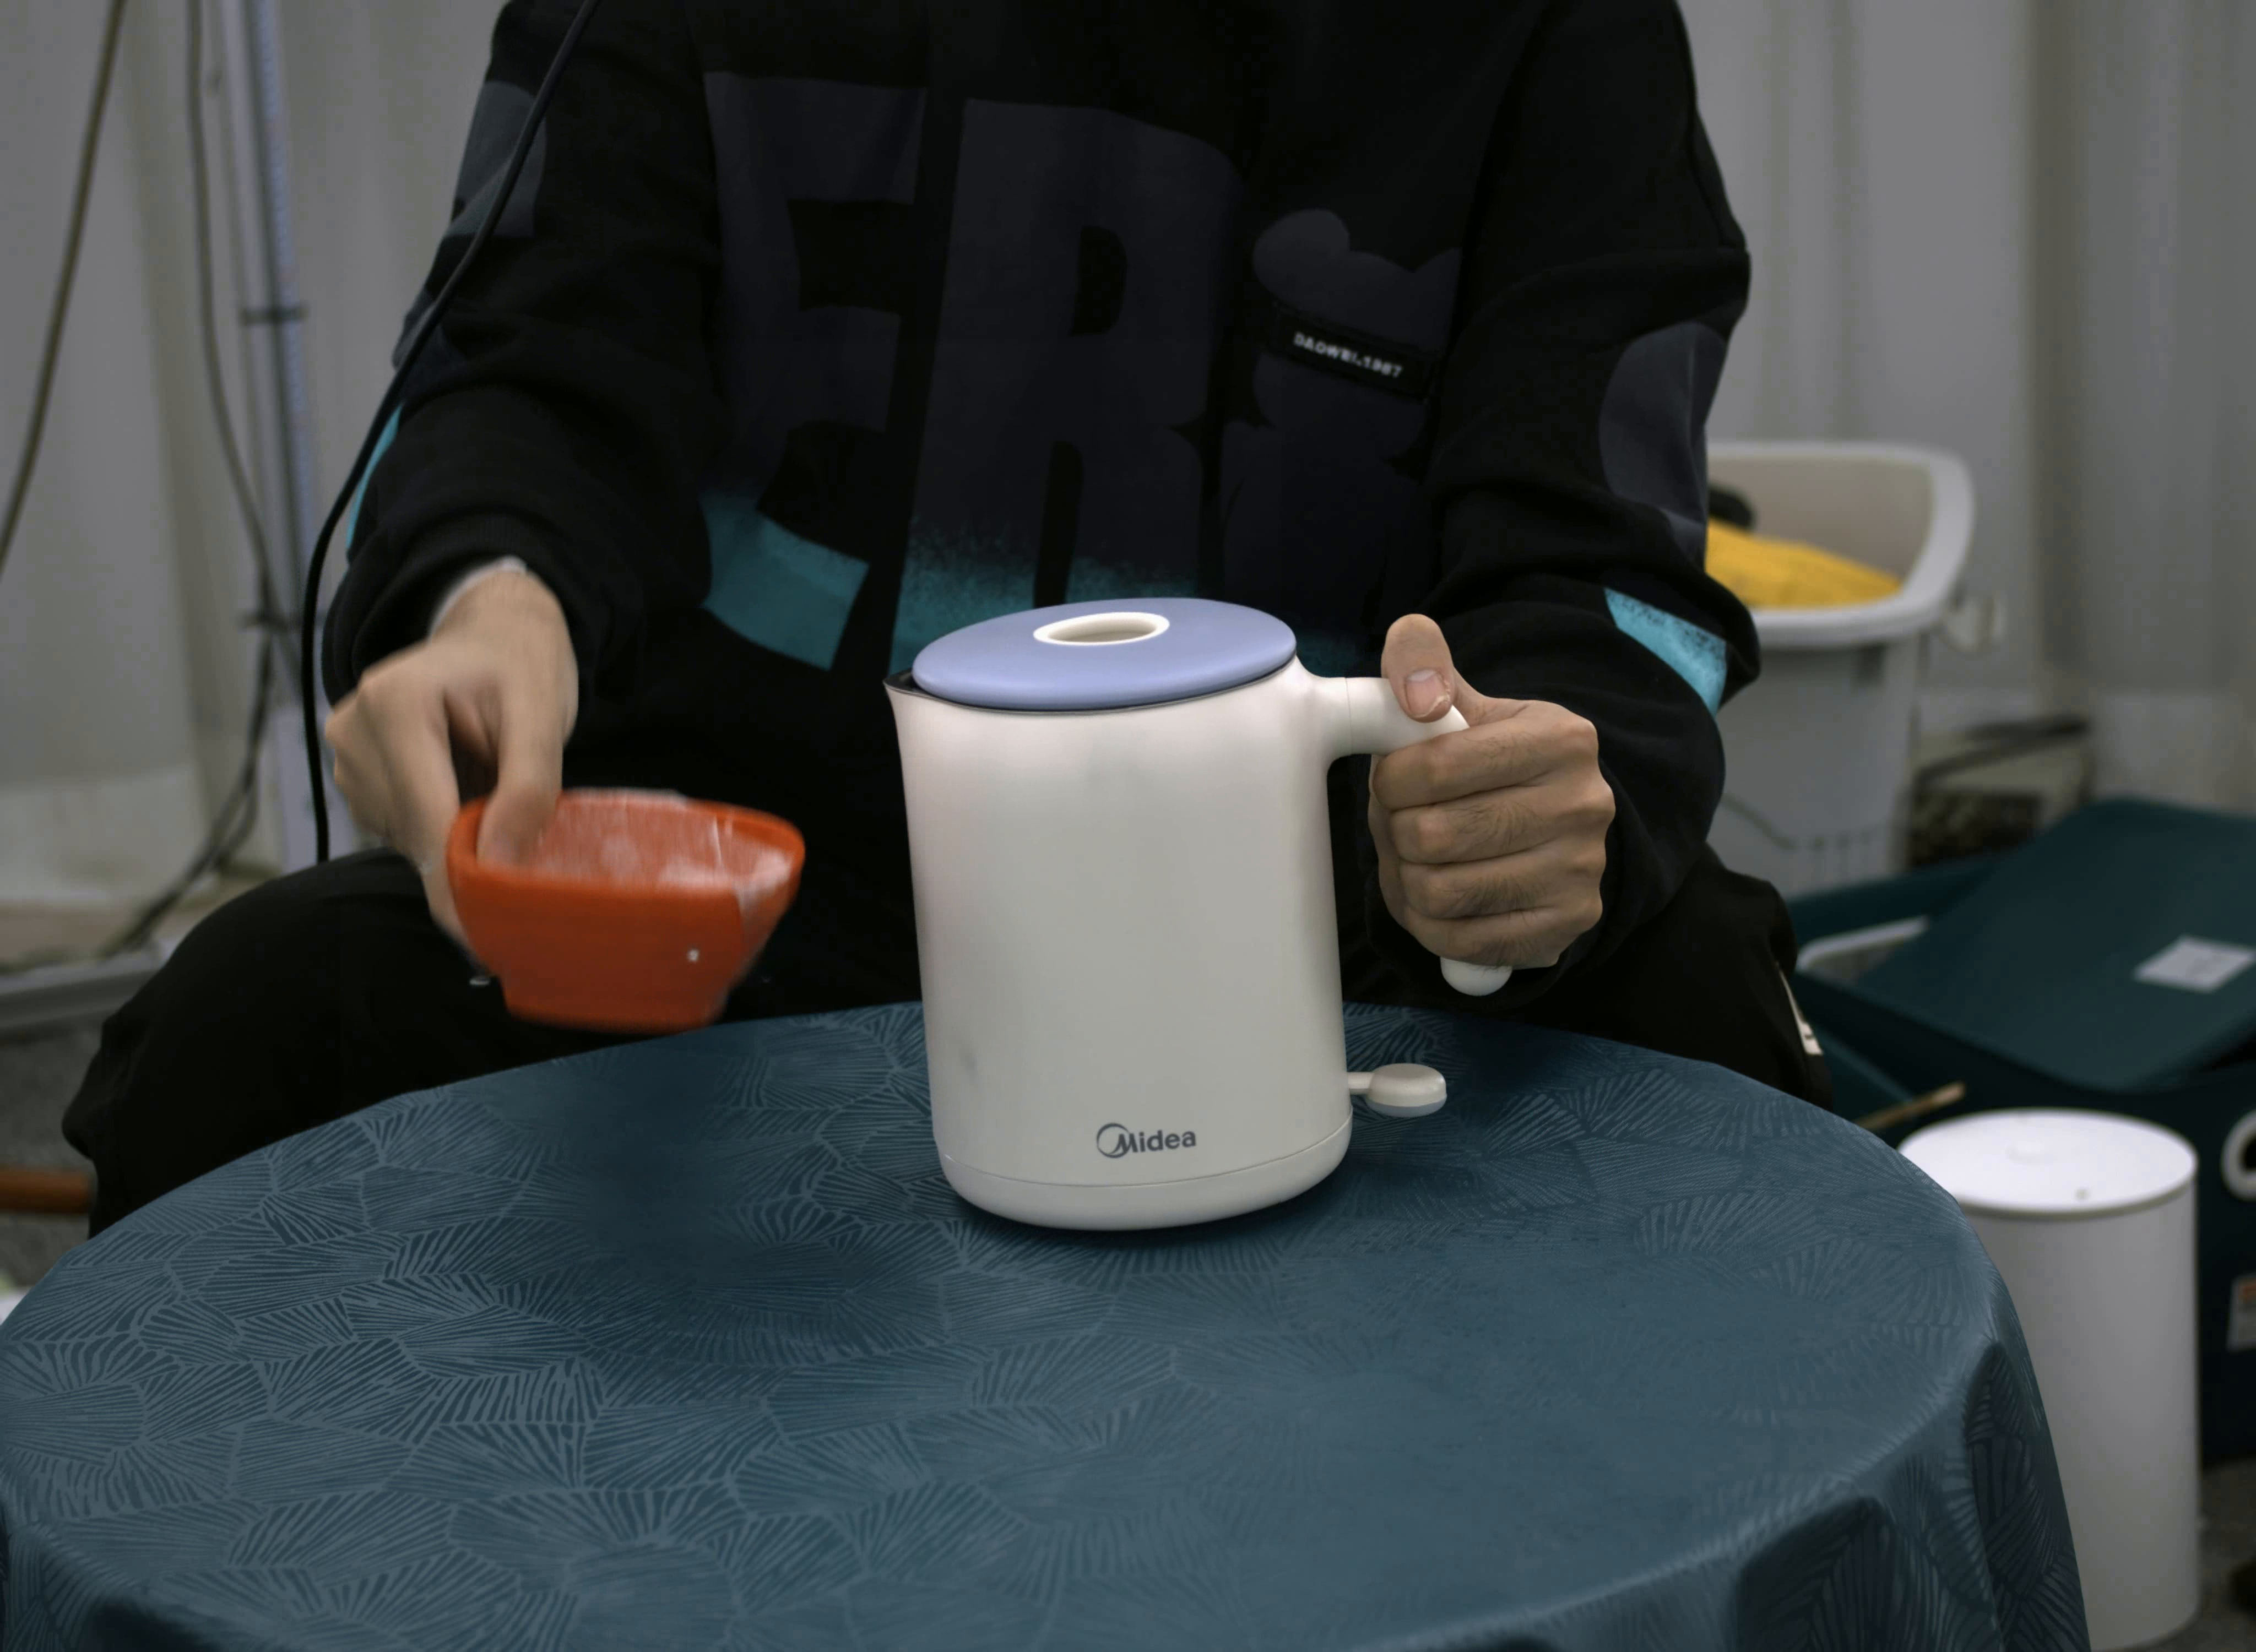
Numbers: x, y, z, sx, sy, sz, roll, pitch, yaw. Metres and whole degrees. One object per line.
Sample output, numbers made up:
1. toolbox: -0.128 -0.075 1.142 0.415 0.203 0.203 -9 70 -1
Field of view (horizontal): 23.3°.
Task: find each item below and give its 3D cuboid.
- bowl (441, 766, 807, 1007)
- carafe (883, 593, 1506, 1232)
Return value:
1. bowl: -0.153 0.020 1.662 0.118 0.051 0.120 3 15 -1
2. carafe: 0.022 0.024 1.700 0.190 0.182 0.133 -3 15 -2
